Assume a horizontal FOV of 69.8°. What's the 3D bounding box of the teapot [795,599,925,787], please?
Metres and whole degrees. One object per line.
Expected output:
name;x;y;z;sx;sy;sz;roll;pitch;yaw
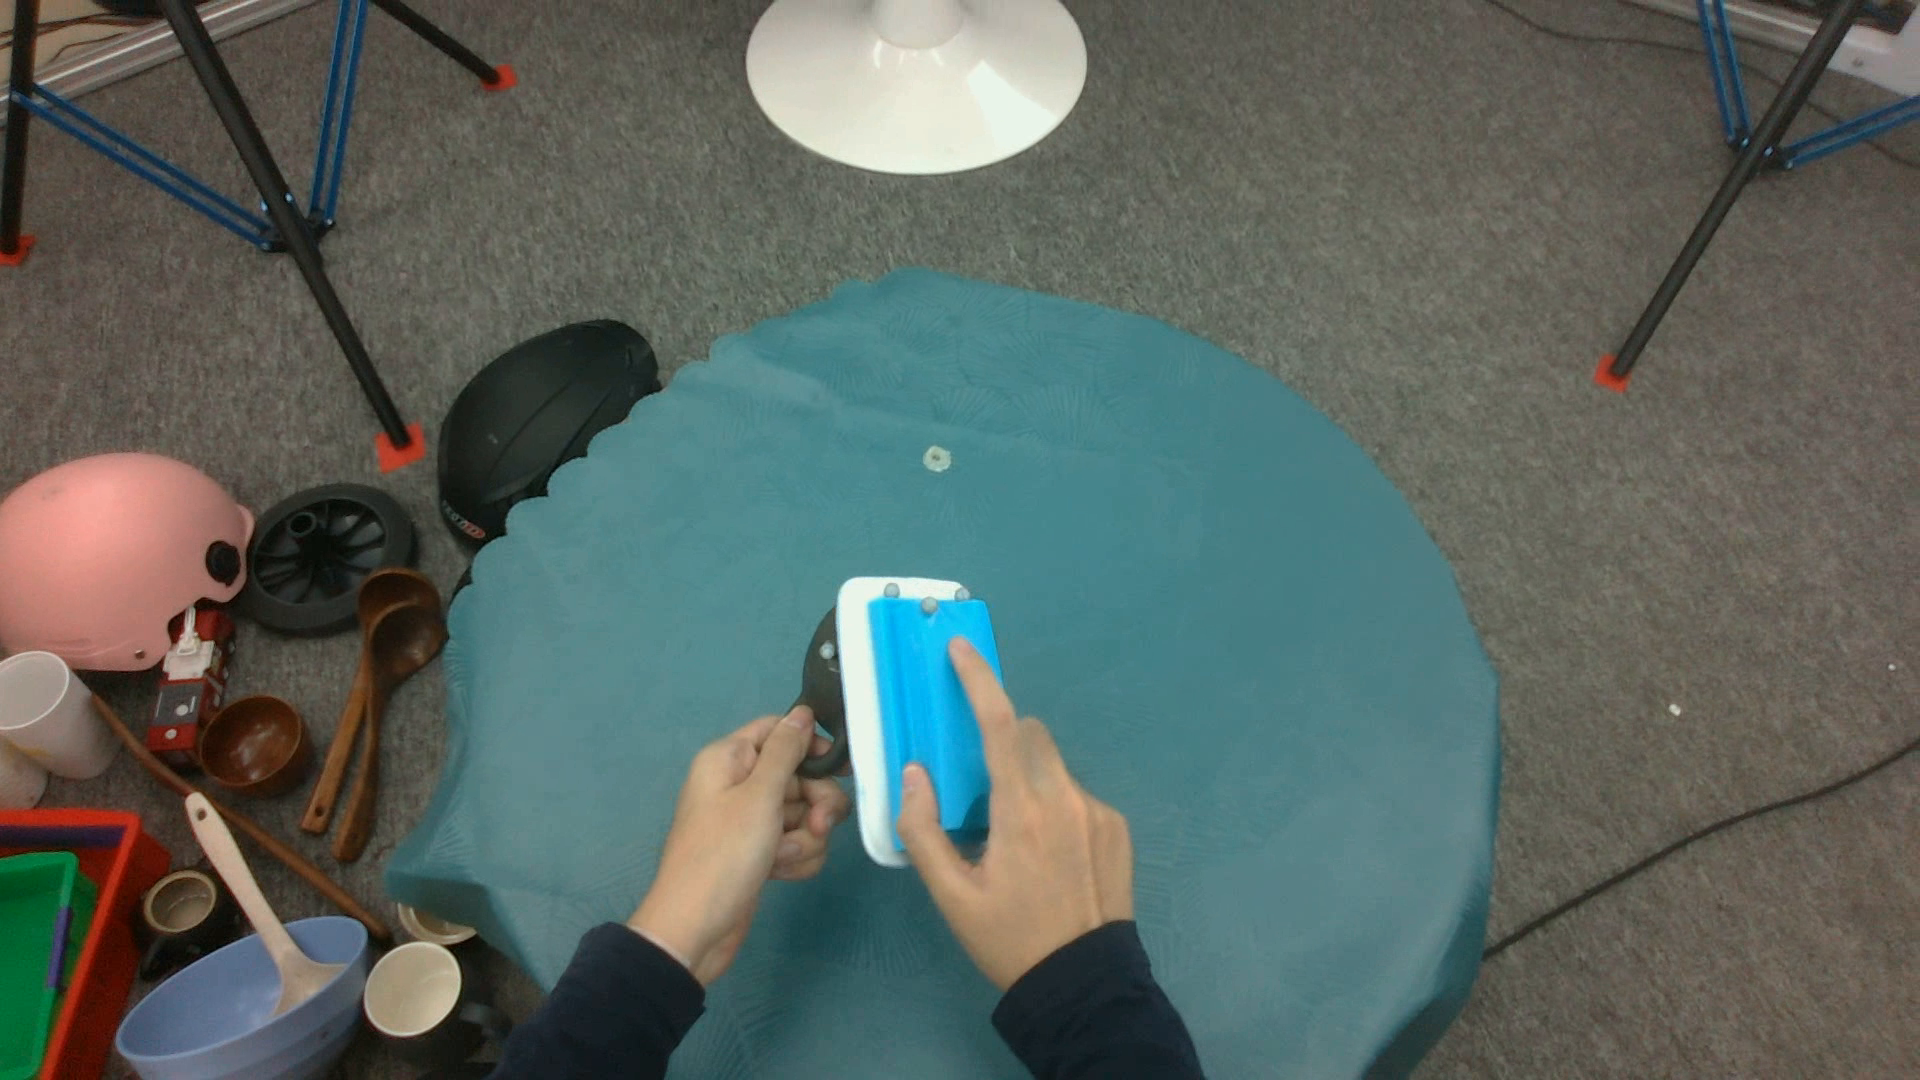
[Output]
teapot;-0.046;0.081;0.723;0.053;0.082;0.114;22;60;26

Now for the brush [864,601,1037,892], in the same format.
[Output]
brush;0.002;0.094;0.666;0.084;0.055;0.144;4;68;-33
